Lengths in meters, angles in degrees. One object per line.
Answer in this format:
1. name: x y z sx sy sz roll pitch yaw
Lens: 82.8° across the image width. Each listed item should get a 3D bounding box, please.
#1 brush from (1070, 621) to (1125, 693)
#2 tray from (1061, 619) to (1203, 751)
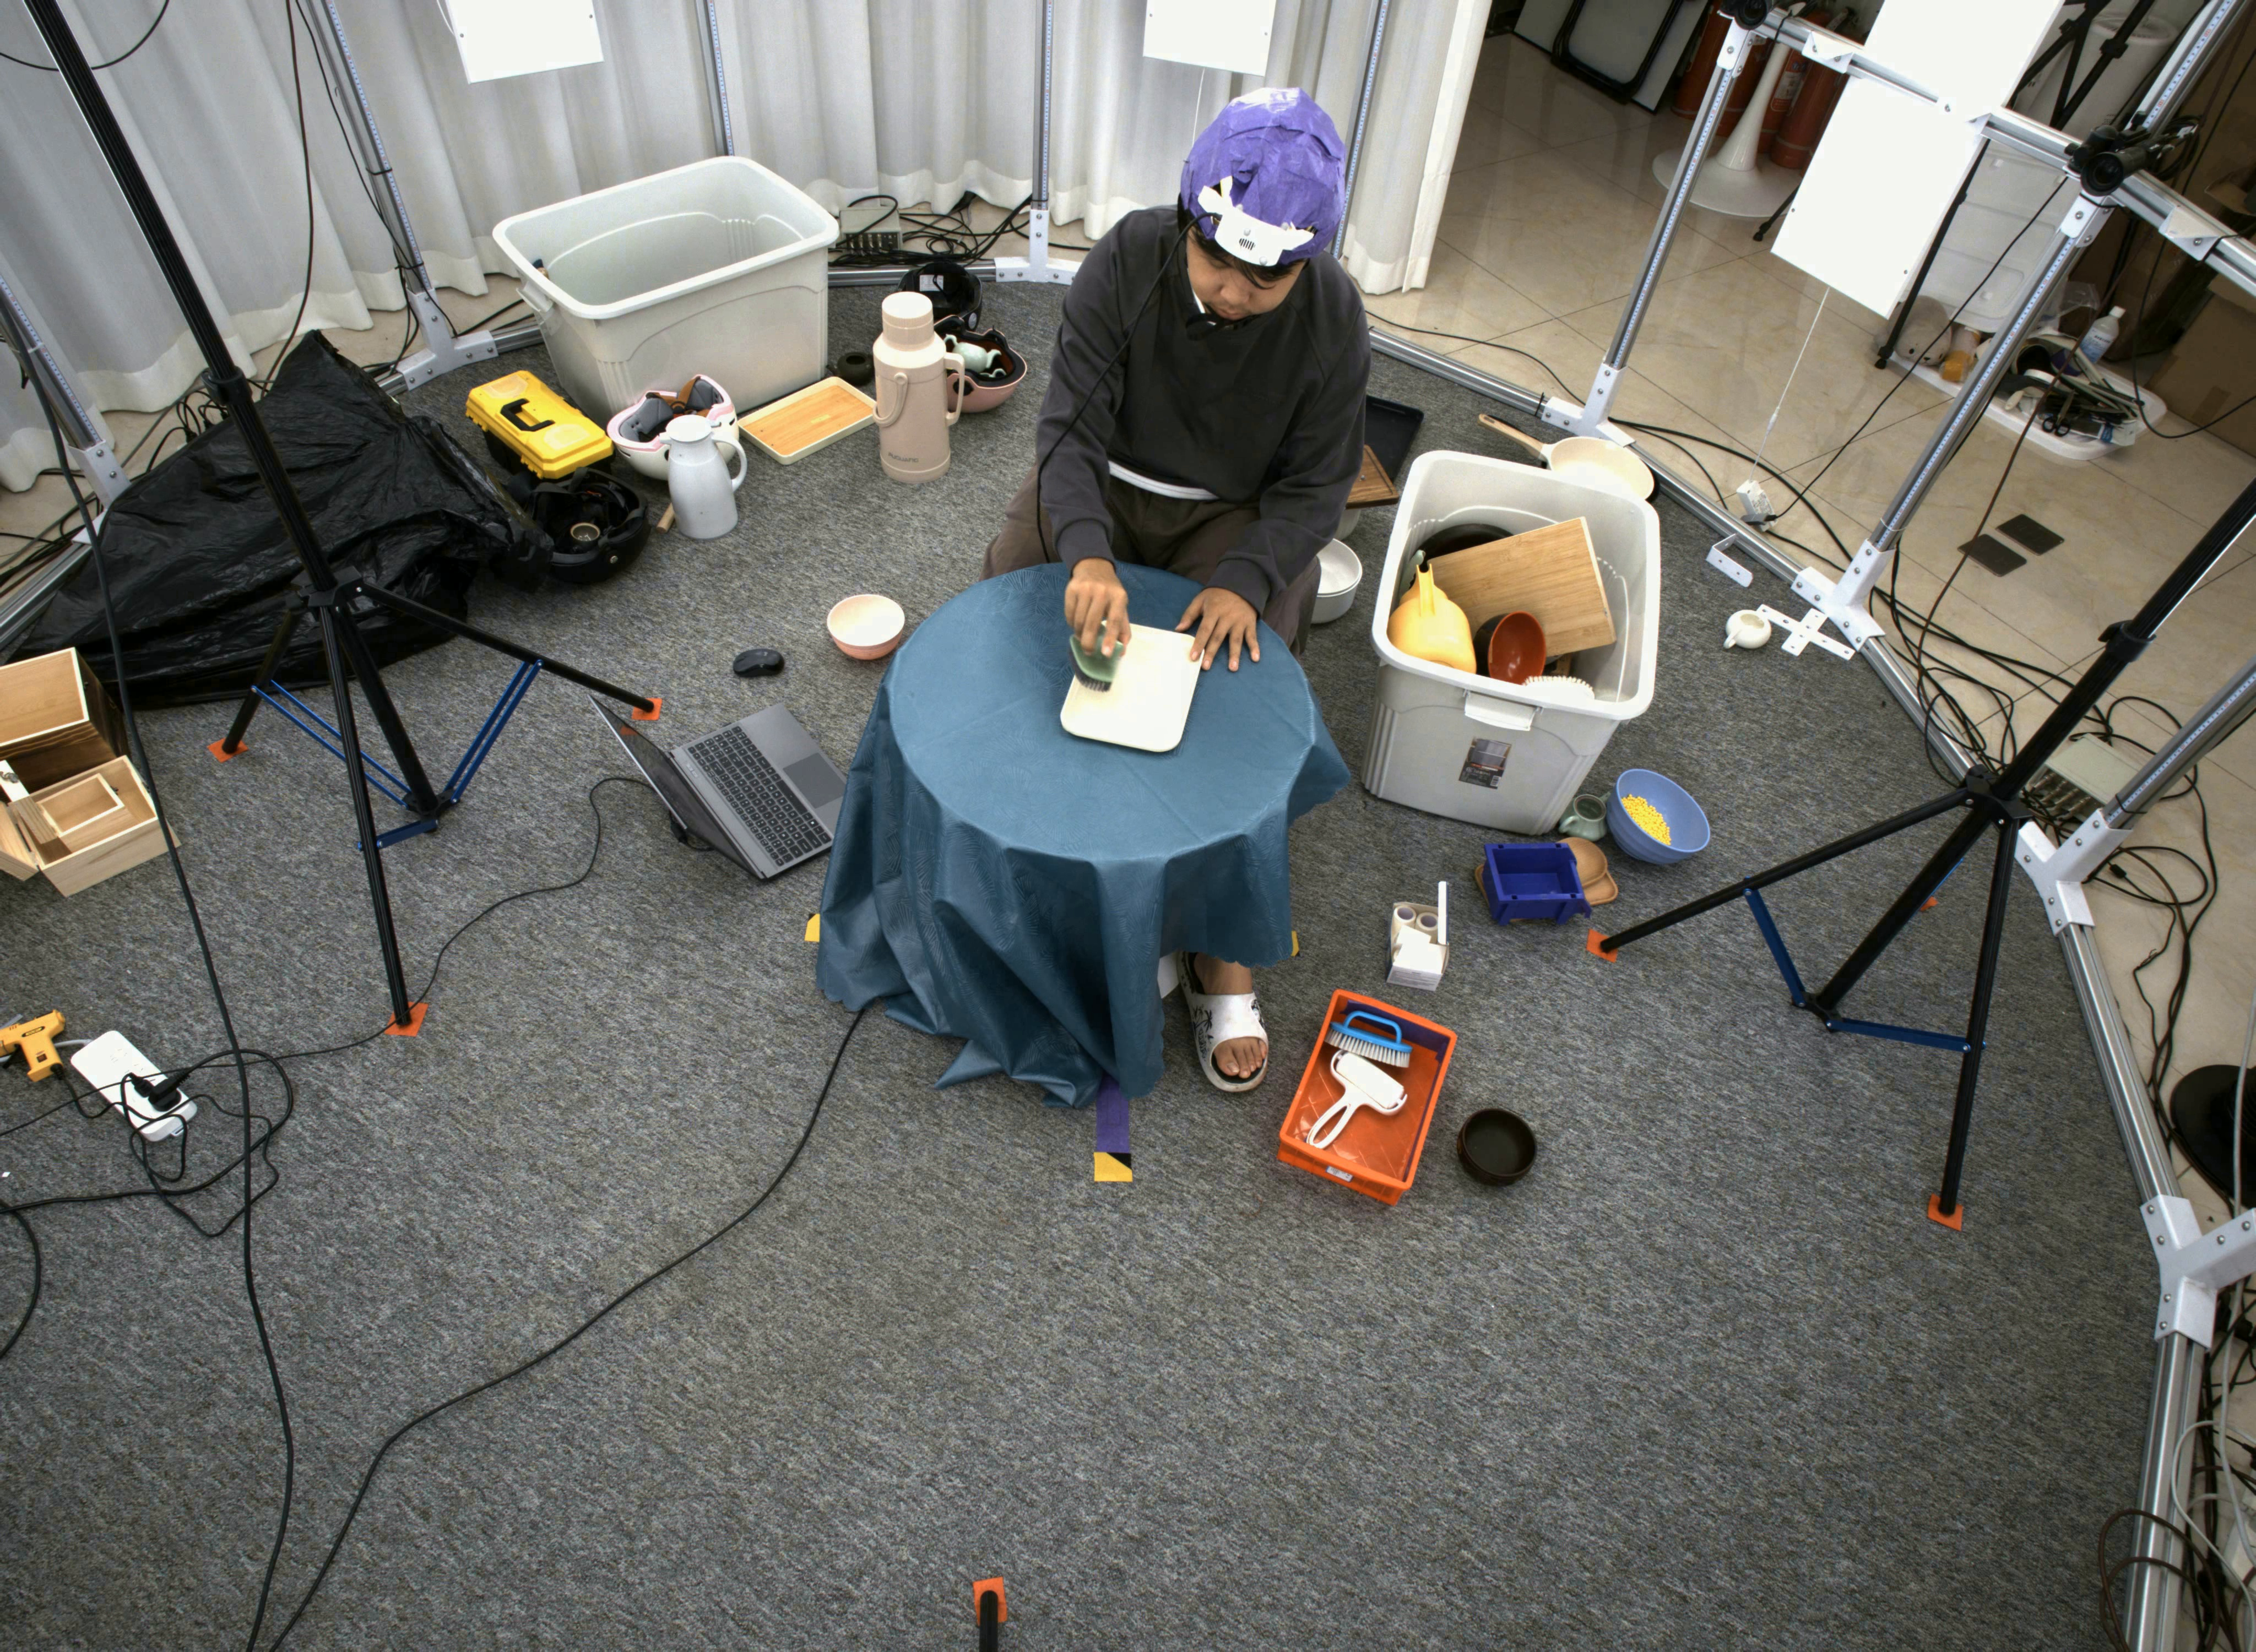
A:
1. brush: -0.043 -0.235 1.770 0.059 0.075 0.125 10 21 -23
2. tray: 0.009 -0.202 1.829 0.171 0.017 0.245 12 49 5
